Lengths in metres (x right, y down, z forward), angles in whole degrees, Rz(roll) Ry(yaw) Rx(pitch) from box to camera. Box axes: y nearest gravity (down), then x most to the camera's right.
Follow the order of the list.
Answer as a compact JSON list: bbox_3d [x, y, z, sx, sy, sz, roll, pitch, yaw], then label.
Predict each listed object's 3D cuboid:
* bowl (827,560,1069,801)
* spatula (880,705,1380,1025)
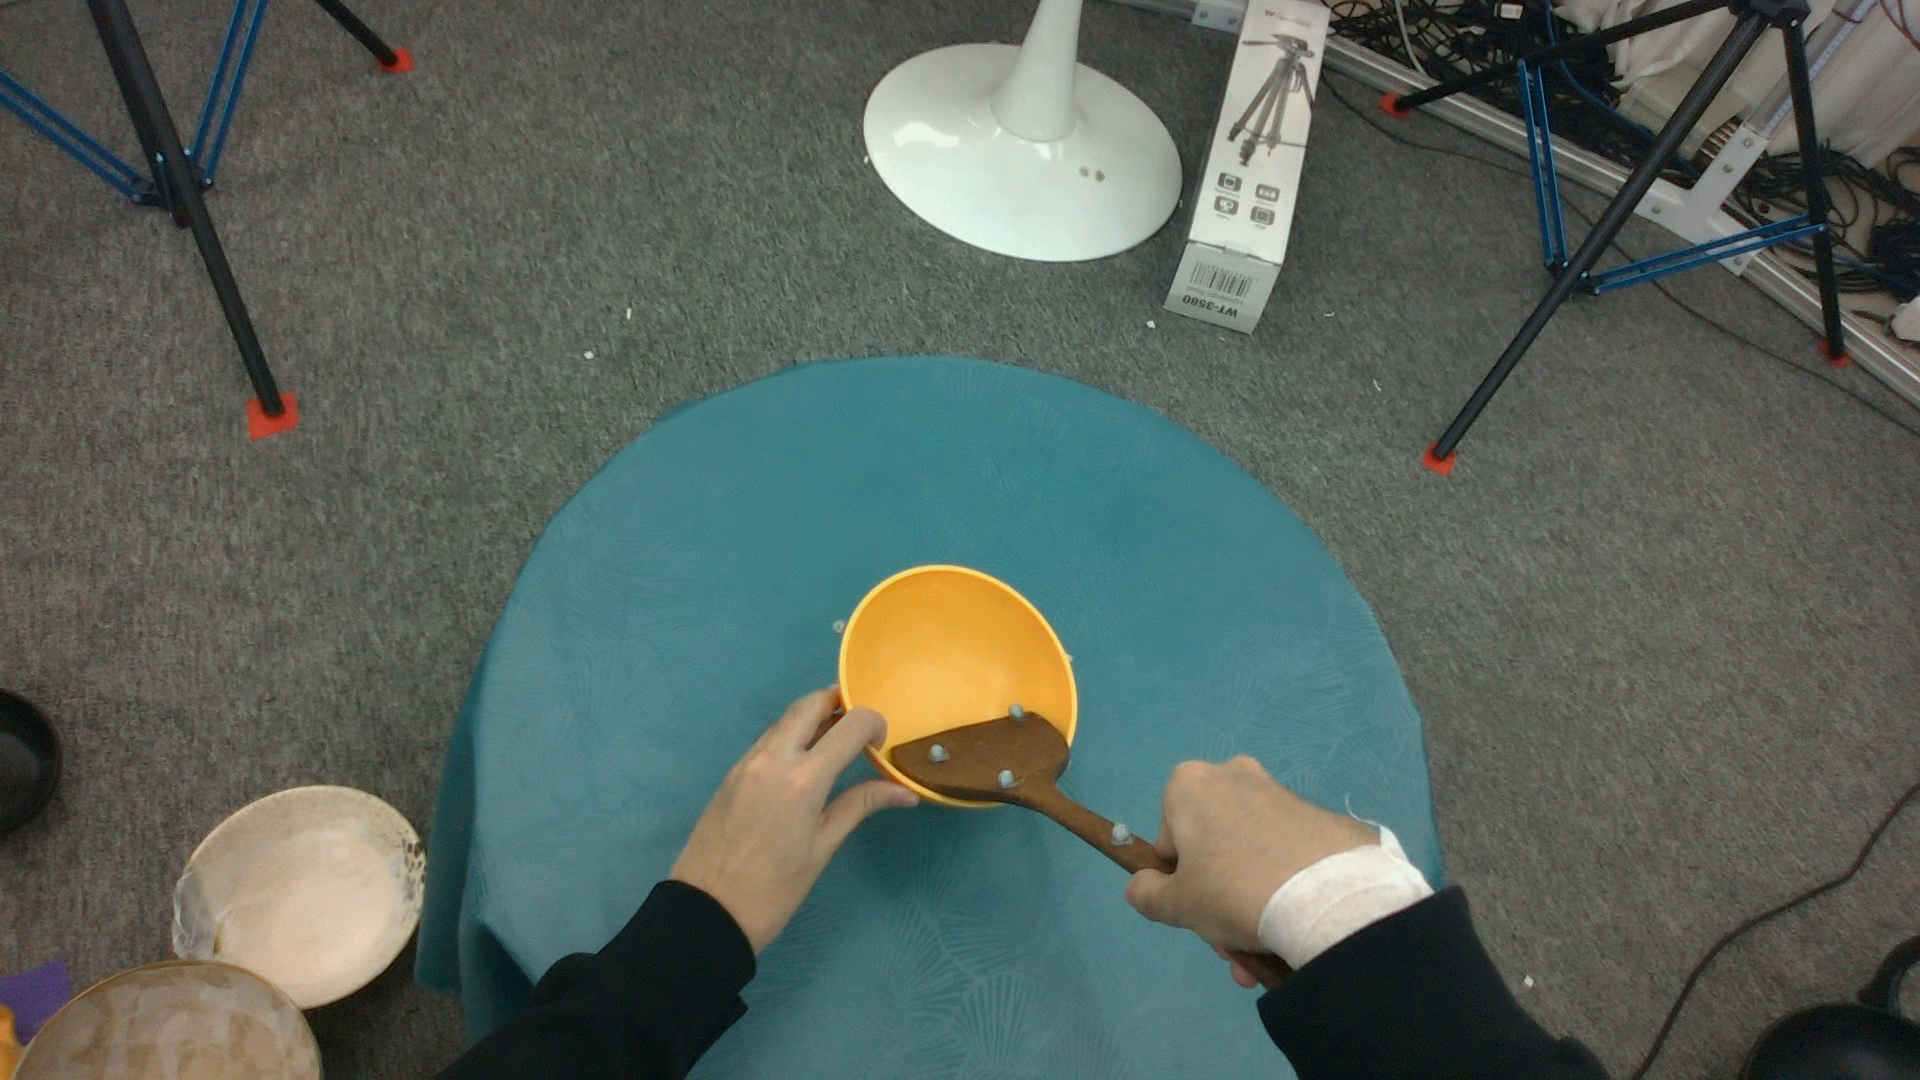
[{"bbox_3d":[-0.015,0.088,0.791,0.145,0.060,0.146,11,58,-19],"label":"bowl"},{"bbox_3d":[0.063,0.131,0.629,0.096,0.385,0.016,-11,100,-20],"label":"spatula"}]
